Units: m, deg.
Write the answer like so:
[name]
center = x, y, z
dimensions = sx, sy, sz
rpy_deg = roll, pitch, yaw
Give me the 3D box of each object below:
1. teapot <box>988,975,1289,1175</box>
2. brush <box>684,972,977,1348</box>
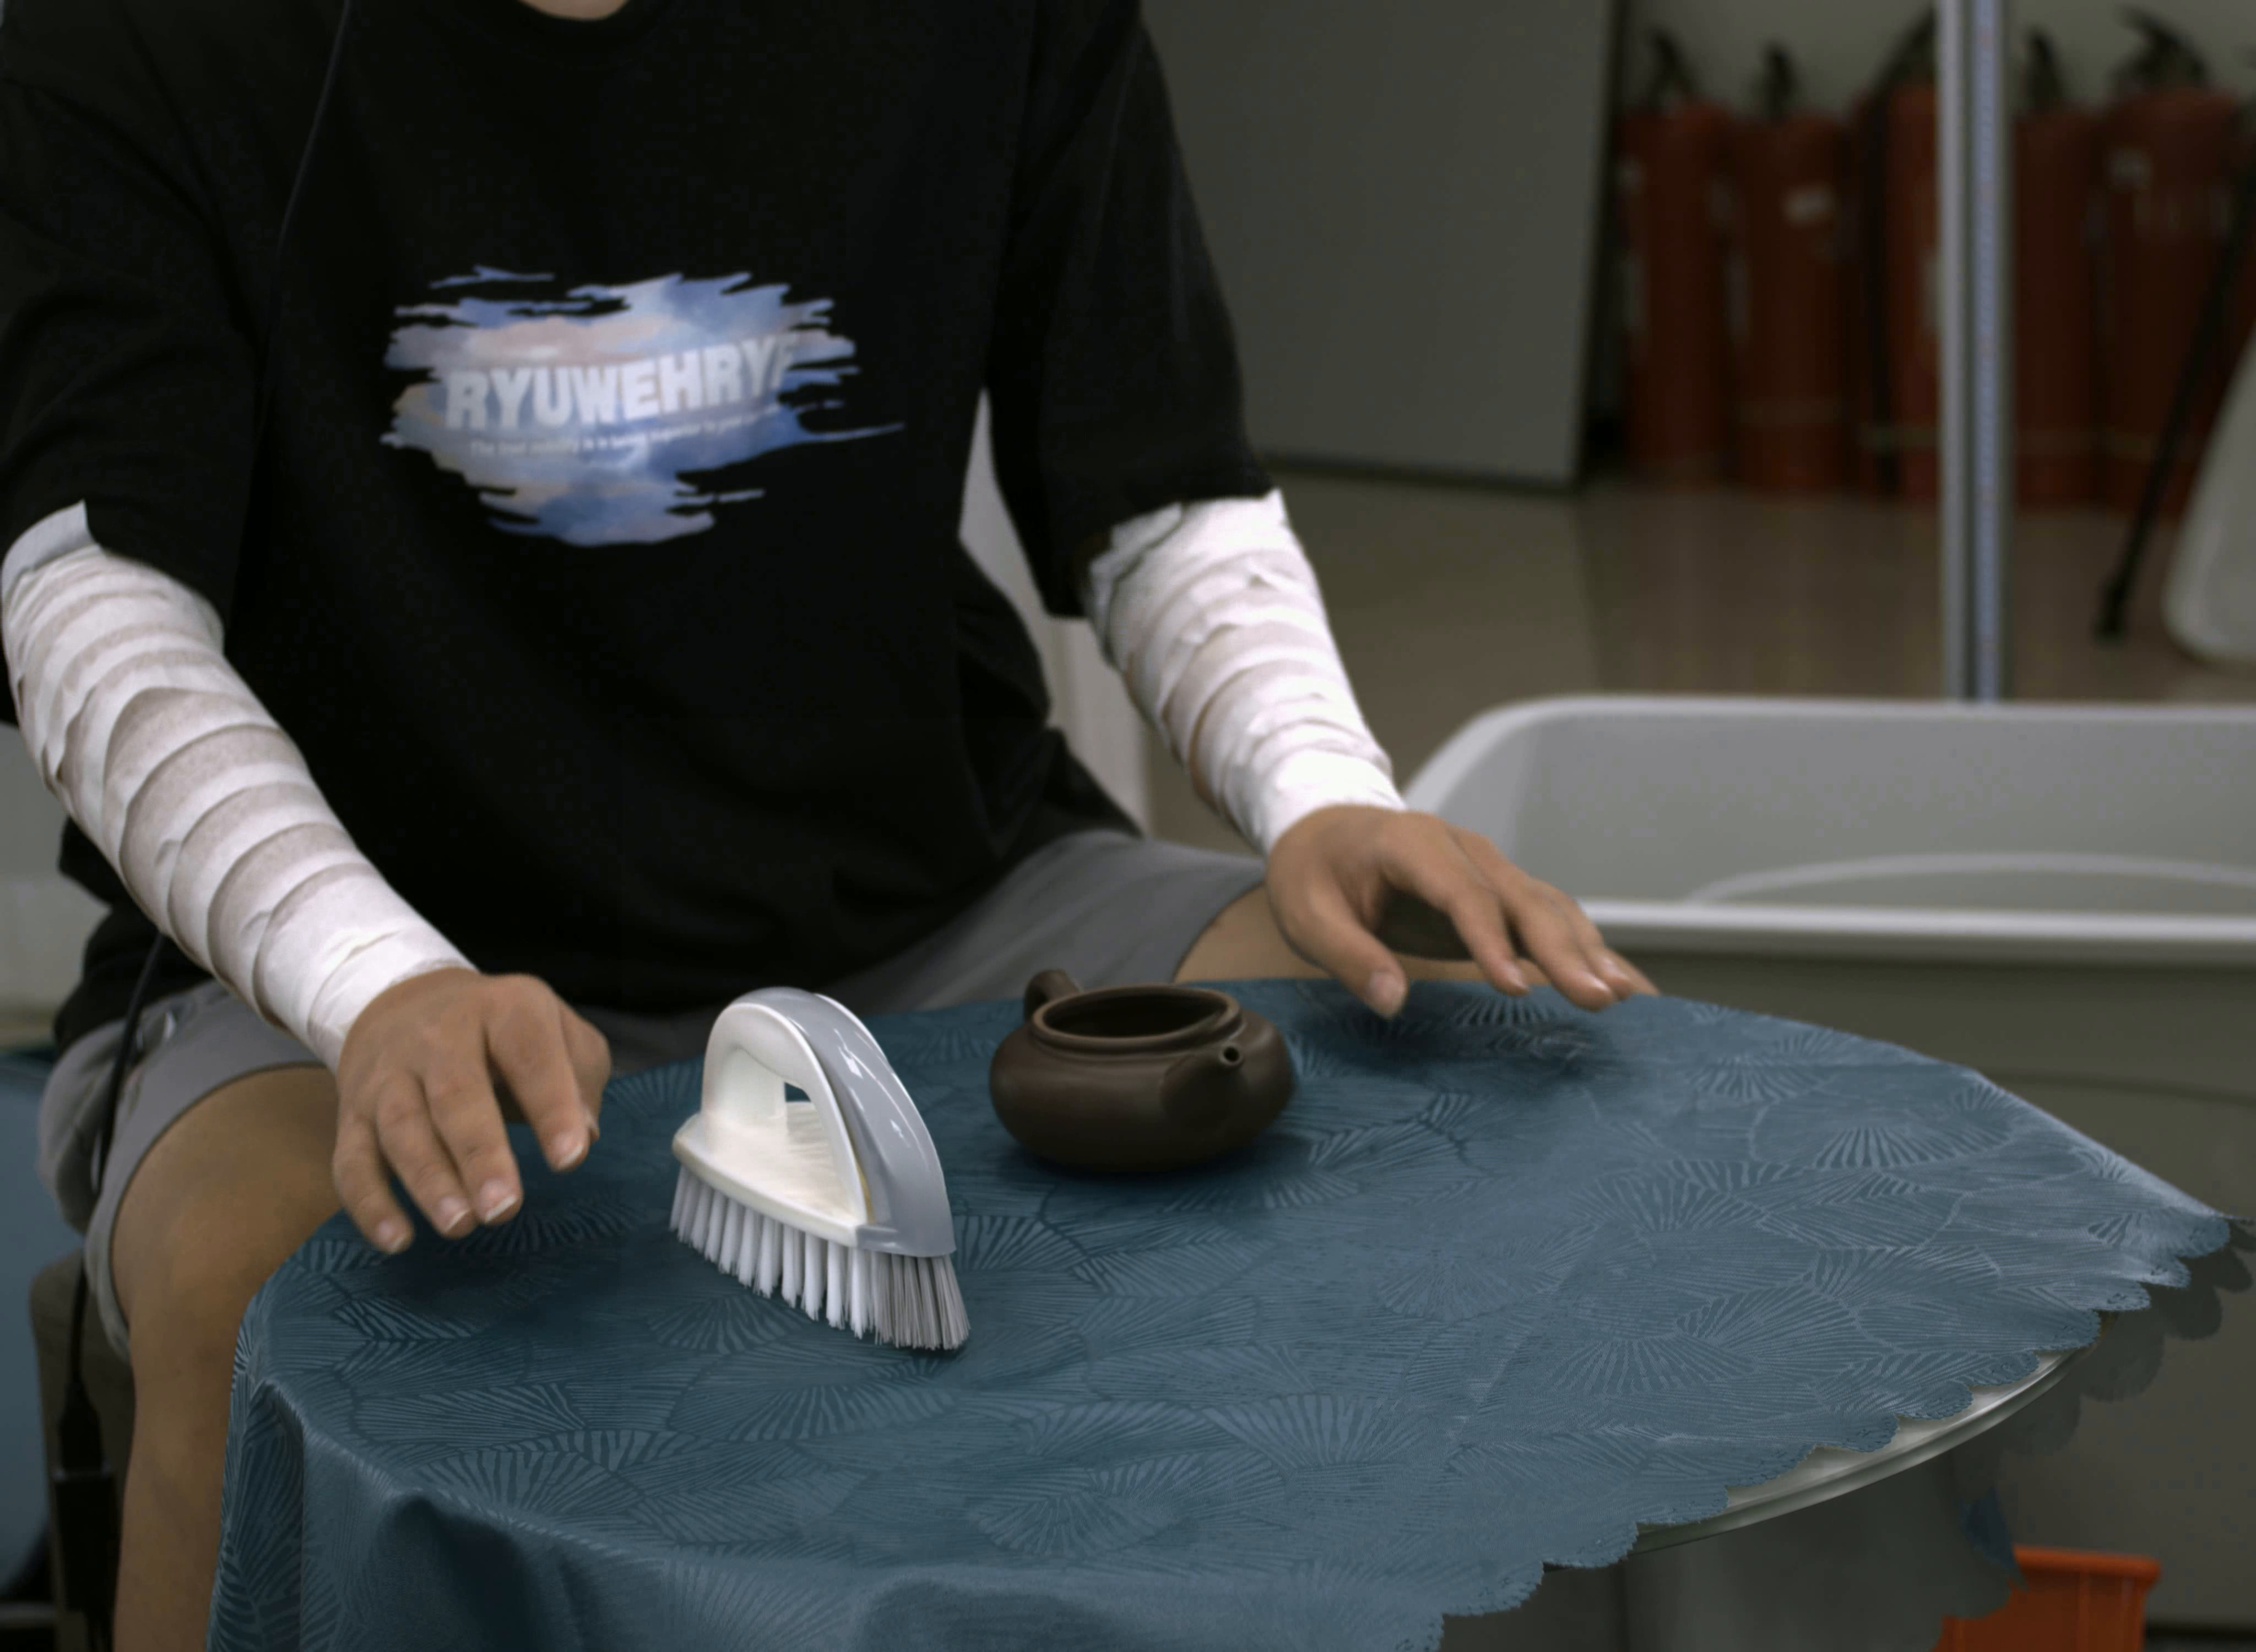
[teapot]
center = 0.001, 0.083, 1.815
dimensions = 0.100, 0.054, 0.155
rpy_deg = -10, 14, -30
[brush]
center = -0.090, 0.100, 1.692
dimensions = 0.060, 0.095, 0.177
rpy_deg = -13, 18, -22
